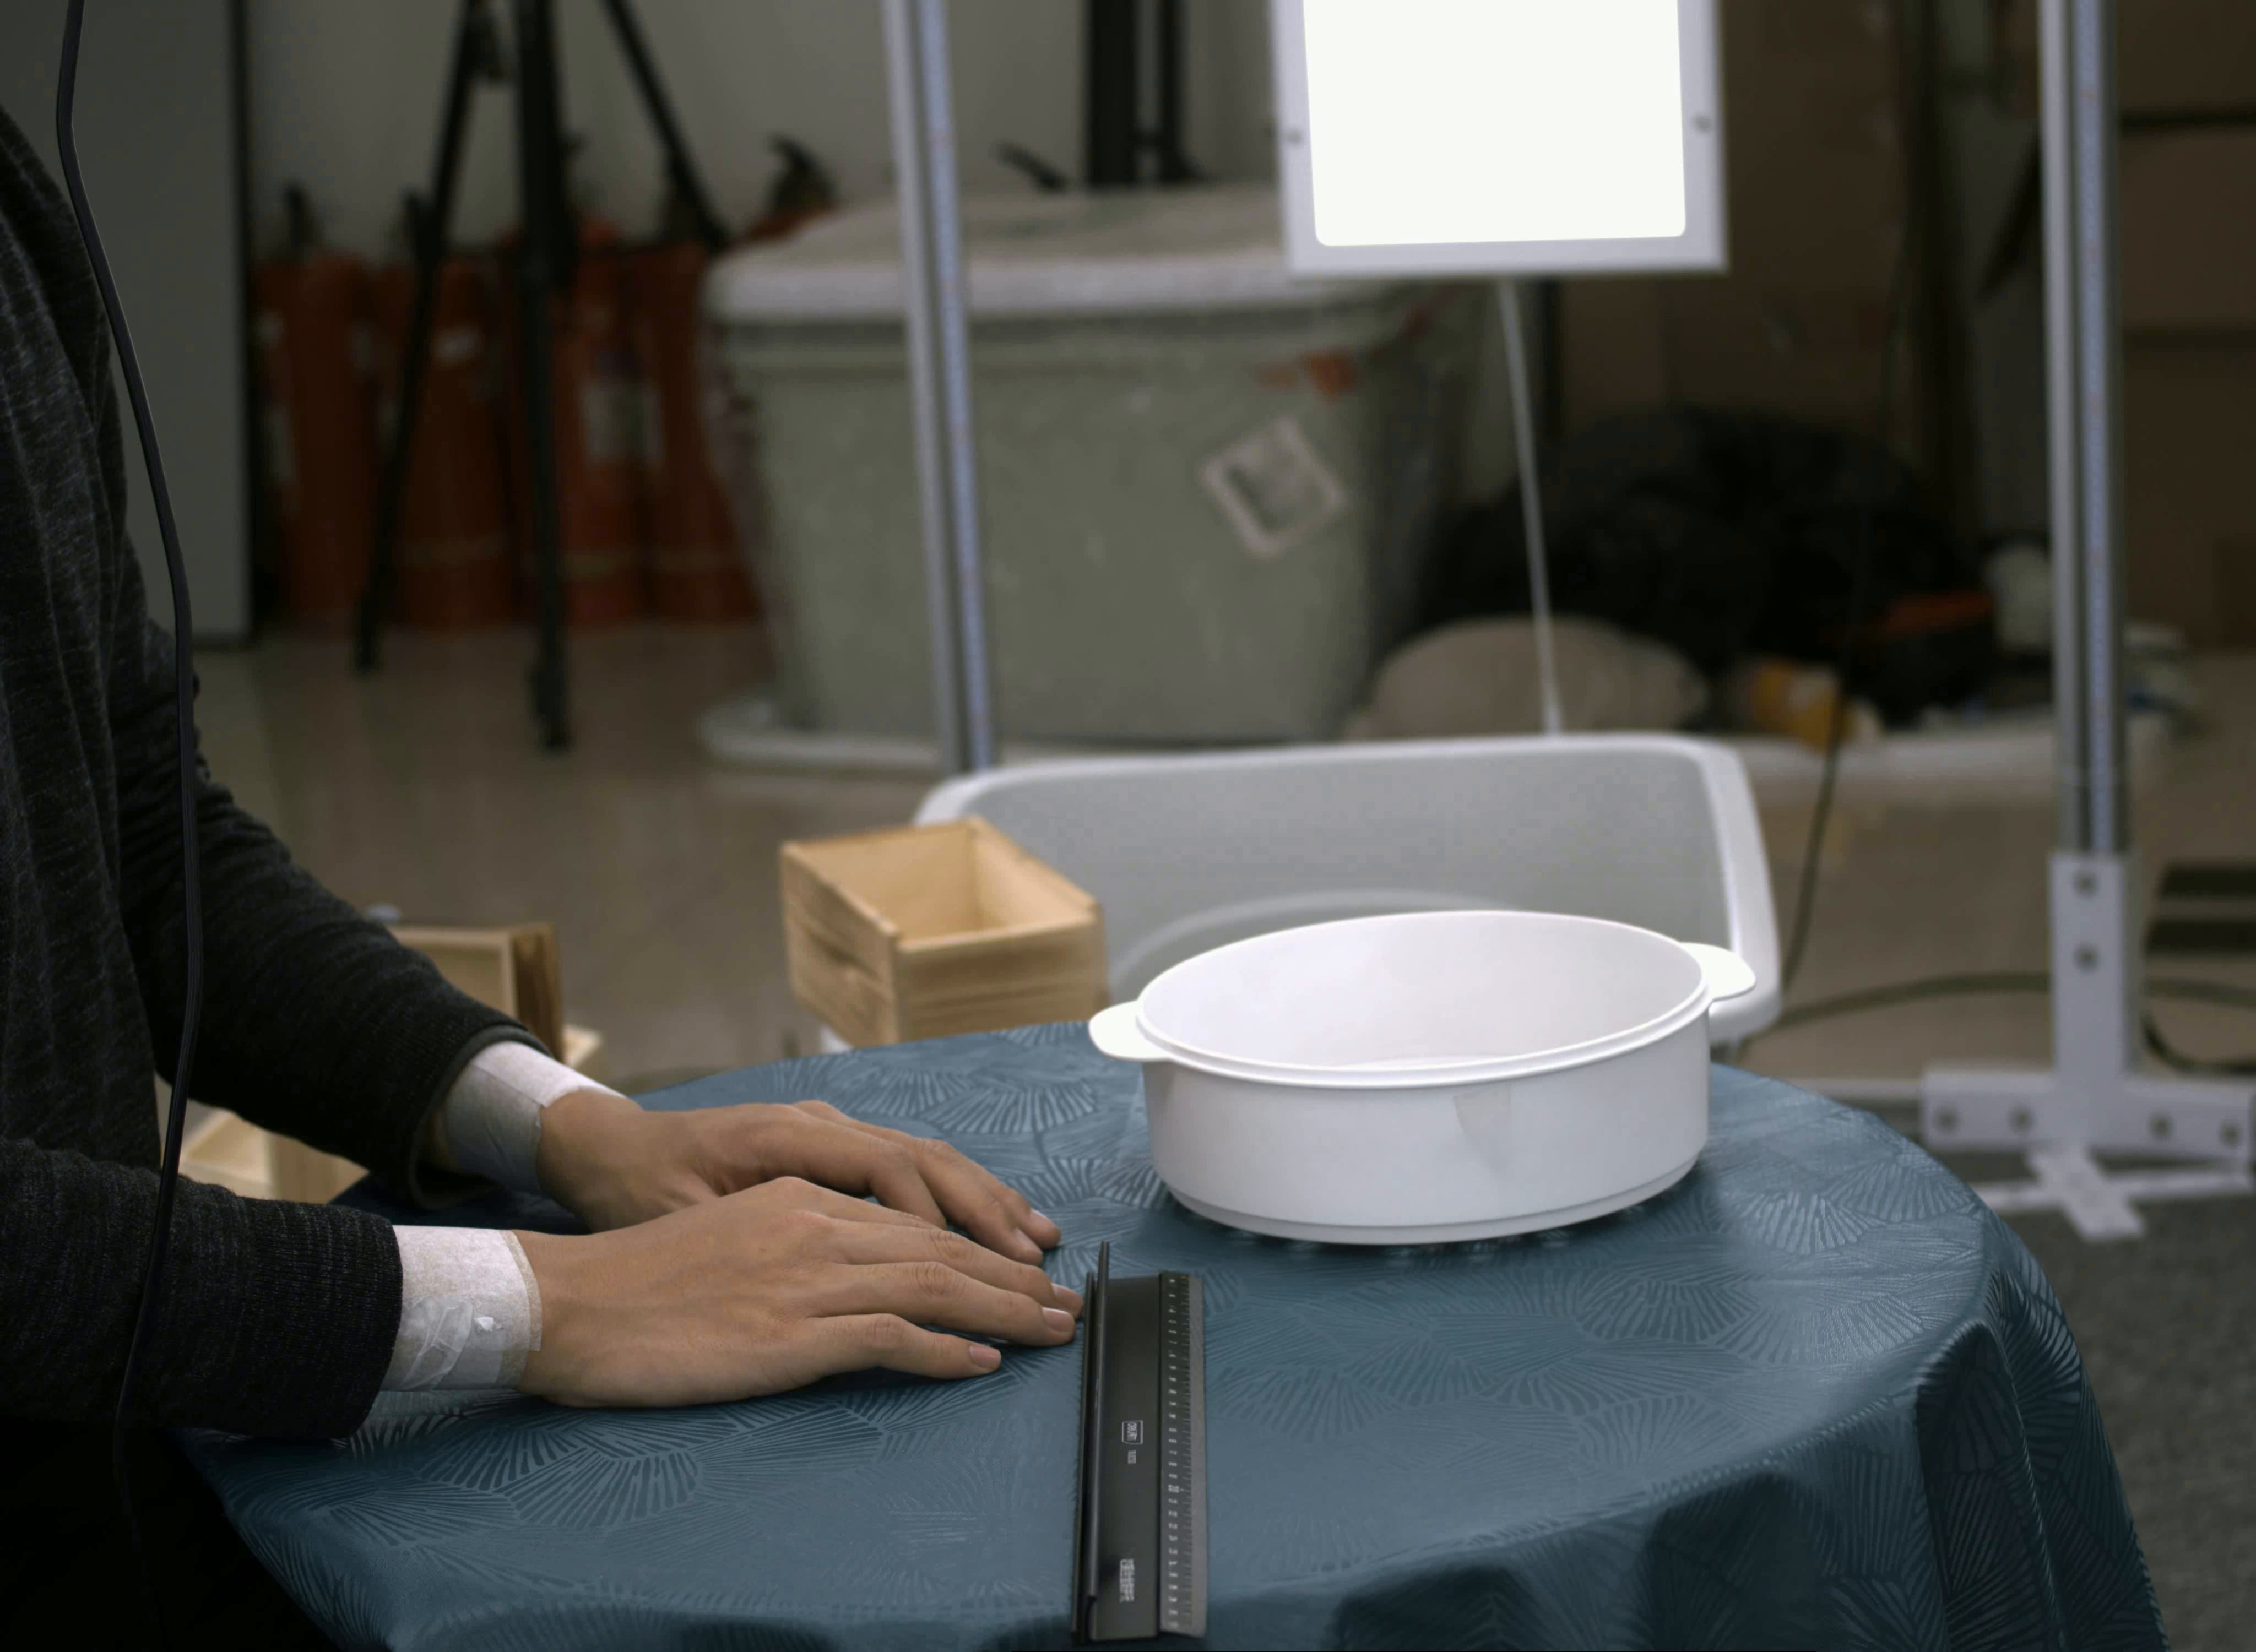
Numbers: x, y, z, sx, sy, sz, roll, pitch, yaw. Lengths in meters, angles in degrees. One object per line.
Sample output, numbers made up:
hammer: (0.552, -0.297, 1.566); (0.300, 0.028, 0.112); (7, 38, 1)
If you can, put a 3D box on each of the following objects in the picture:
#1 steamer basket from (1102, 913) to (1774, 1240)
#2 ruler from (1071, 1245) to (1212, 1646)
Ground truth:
steamer basket: (0.107, 0.085, 1.882); (0.229, 0.069, 0.202); (-4, 13, -6)
ruler: (0.005, 0.179, 1.649); (0.039, 0.017, 0.311); (-1, 14, 1)
